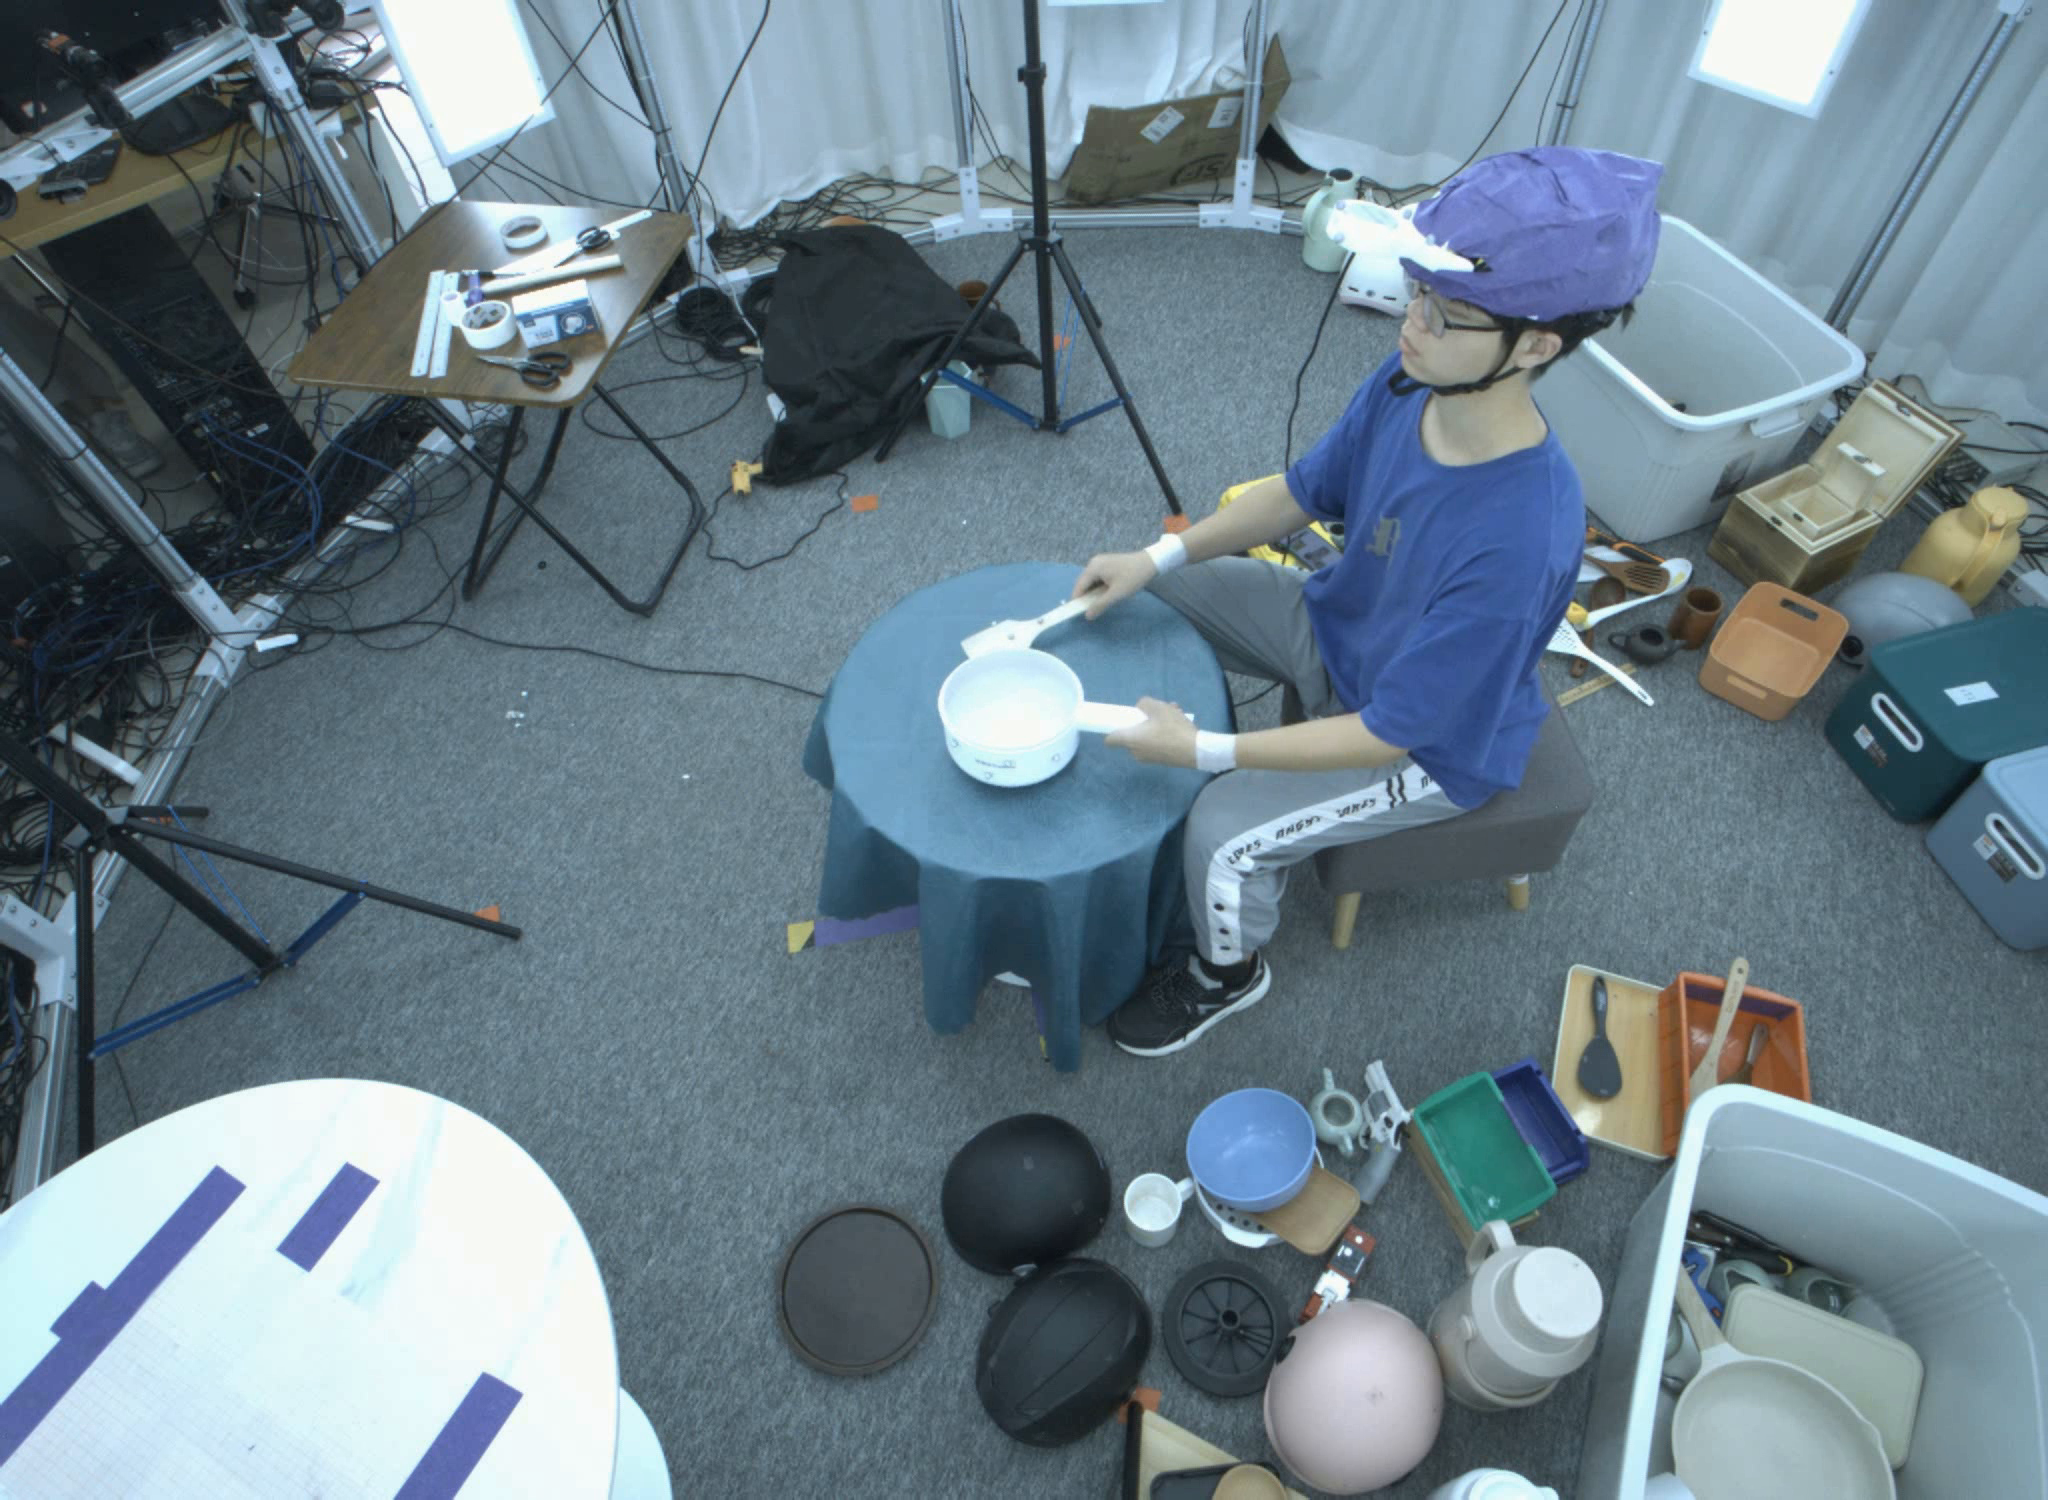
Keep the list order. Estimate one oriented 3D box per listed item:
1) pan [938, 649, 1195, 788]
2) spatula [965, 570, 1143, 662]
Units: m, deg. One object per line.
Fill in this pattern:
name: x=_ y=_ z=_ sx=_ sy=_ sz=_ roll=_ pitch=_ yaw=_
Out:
pan: x=0.059 y=-0.030 z=1.724 sx=0.353 sy=0.103 sz=0.200 roll=7 pitch=48 yaw=7
spatula: x=0.052 y=-0.207 z=1.875 sx=0.294 sy=0.011 sz=0.071 roll=-27 pitch=61 yaw=-10
